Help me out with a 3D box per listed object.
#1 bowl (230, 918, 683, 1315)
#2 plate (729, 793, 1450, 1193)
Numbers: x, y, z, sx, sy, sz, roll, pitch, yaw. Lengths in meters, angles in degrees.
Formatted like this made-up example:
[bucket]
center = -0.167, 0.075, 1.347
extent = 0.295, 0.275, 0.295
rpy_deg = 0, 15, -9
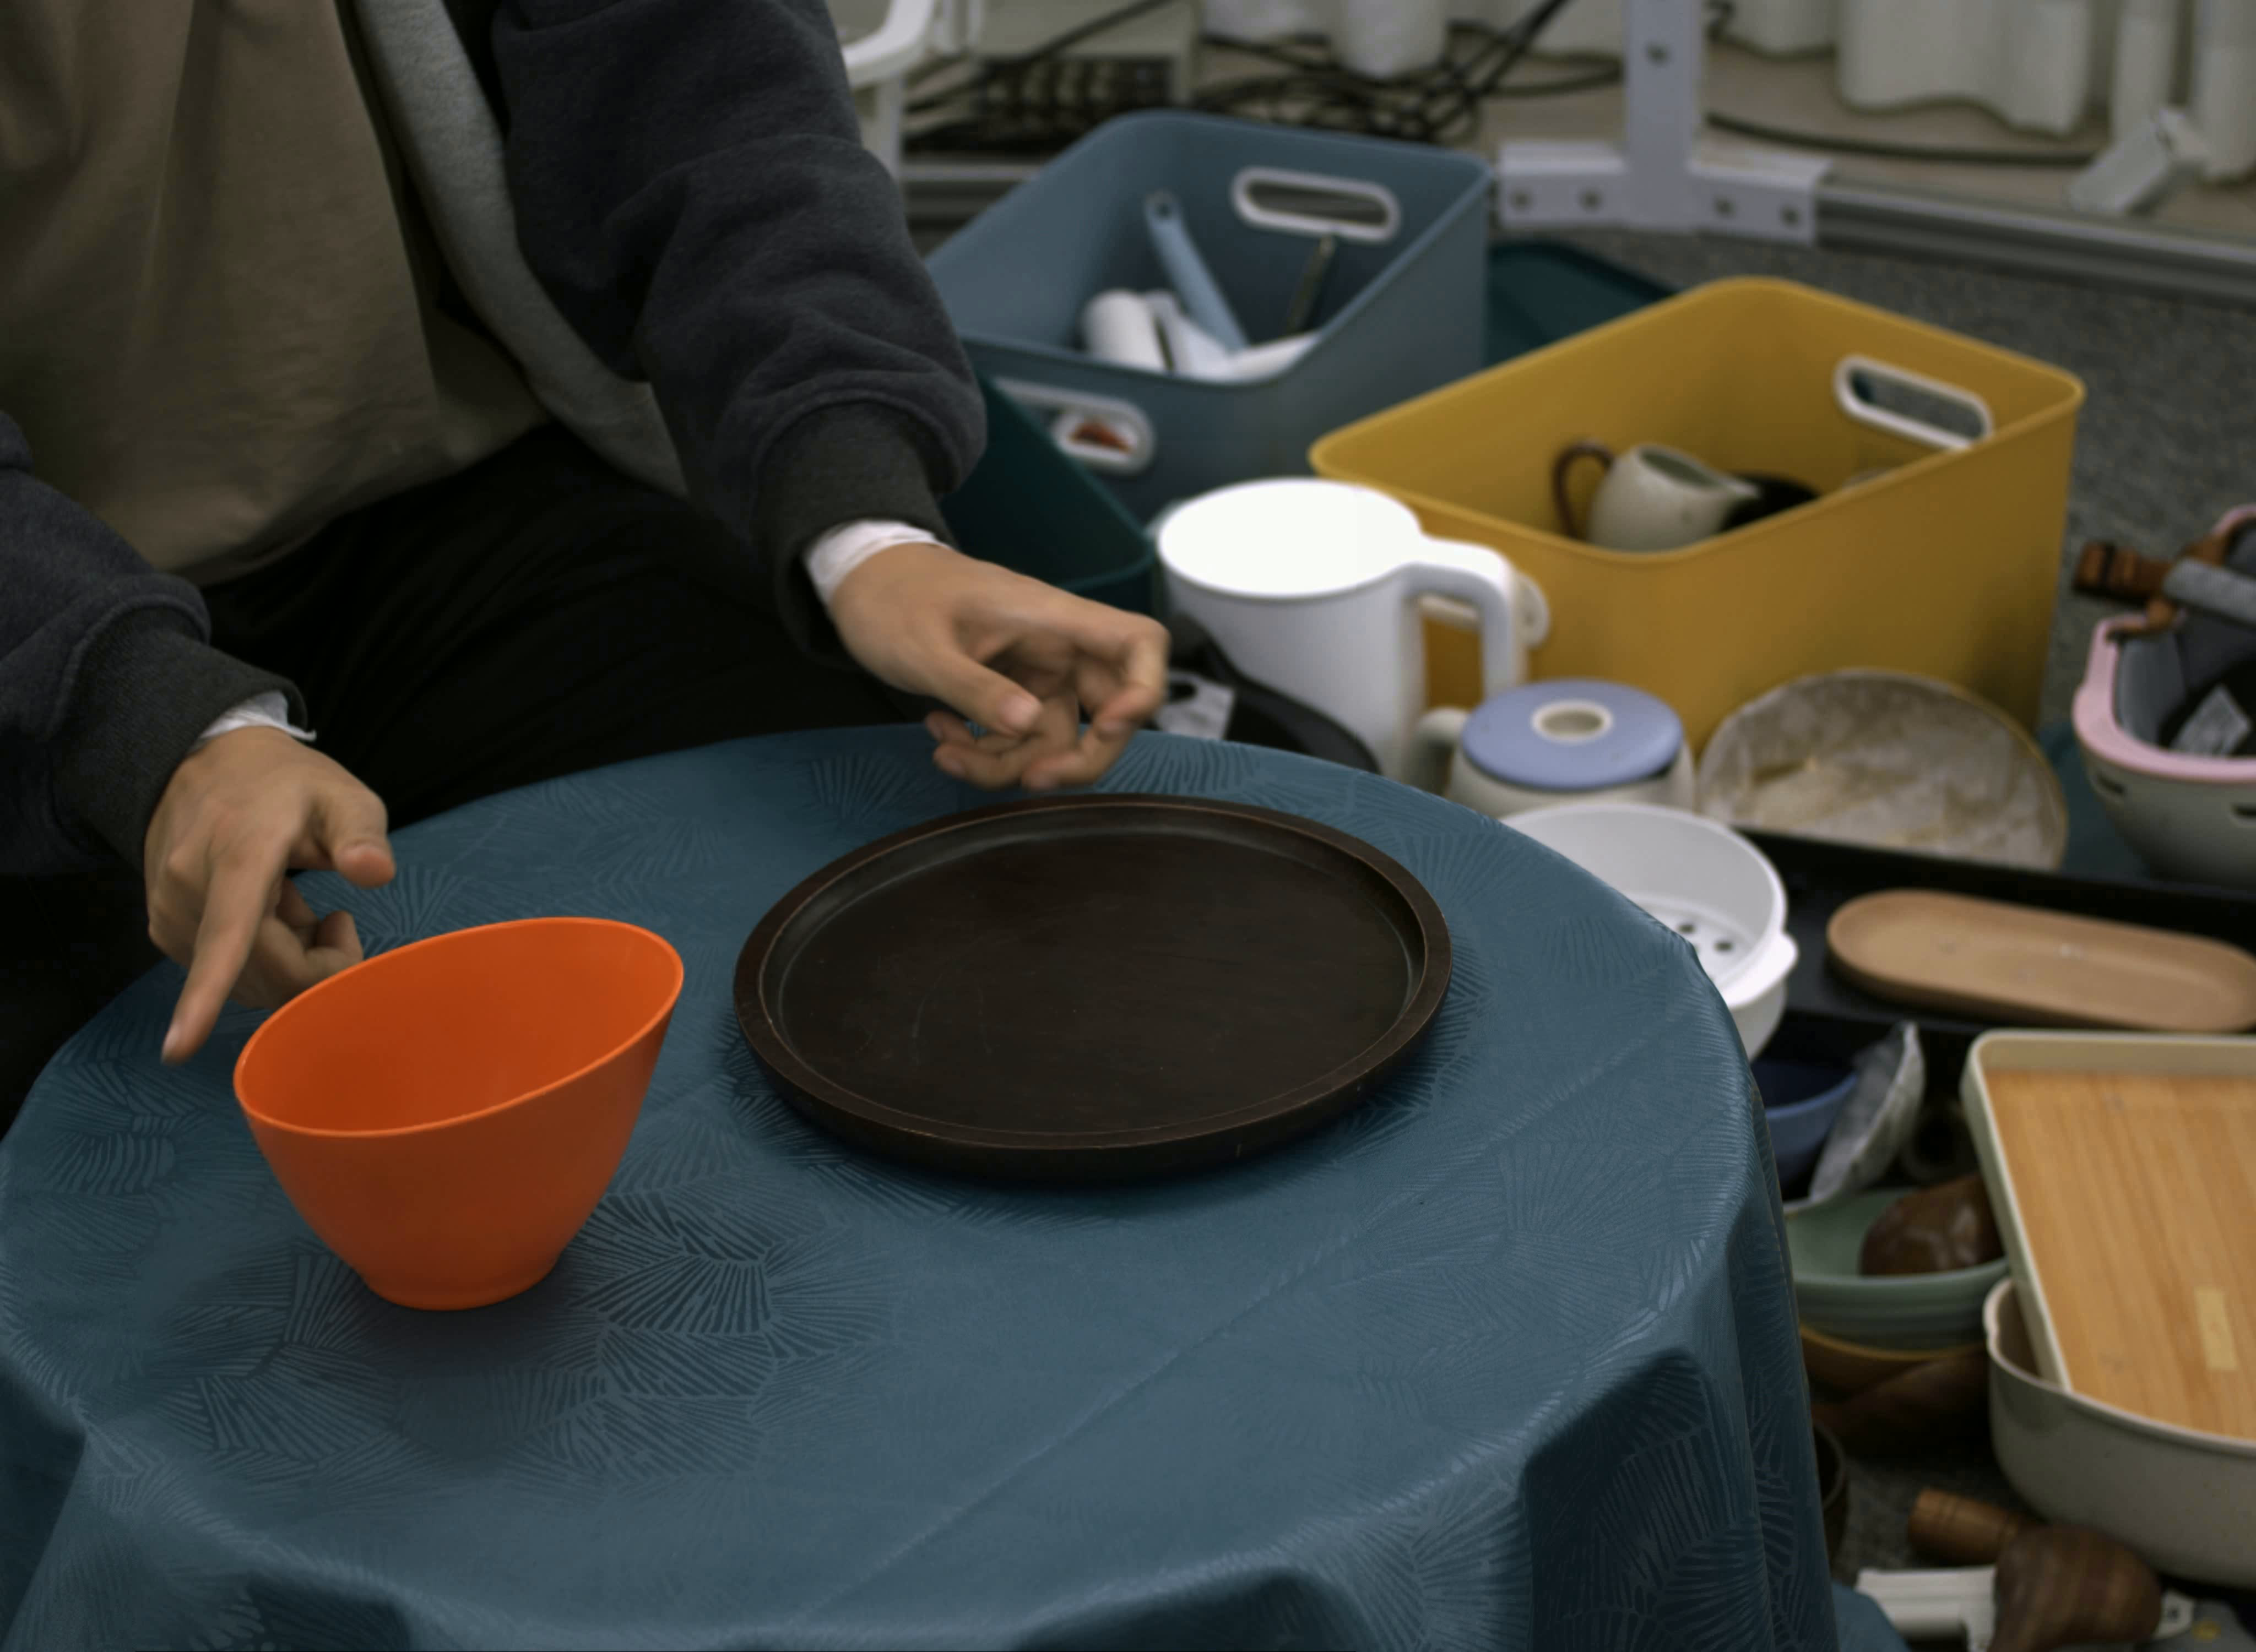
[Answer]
[bowl]
center = -0.213, 0.100, 1.816
extent = 0.147, 0.103, 0.150
rpy_deg = -2, 28, 2
[plate]
center = -0.013, 0.056, 1.964
extent = 0.253, 0.029, 0.259
rpy_deg = -3, 28, 2
